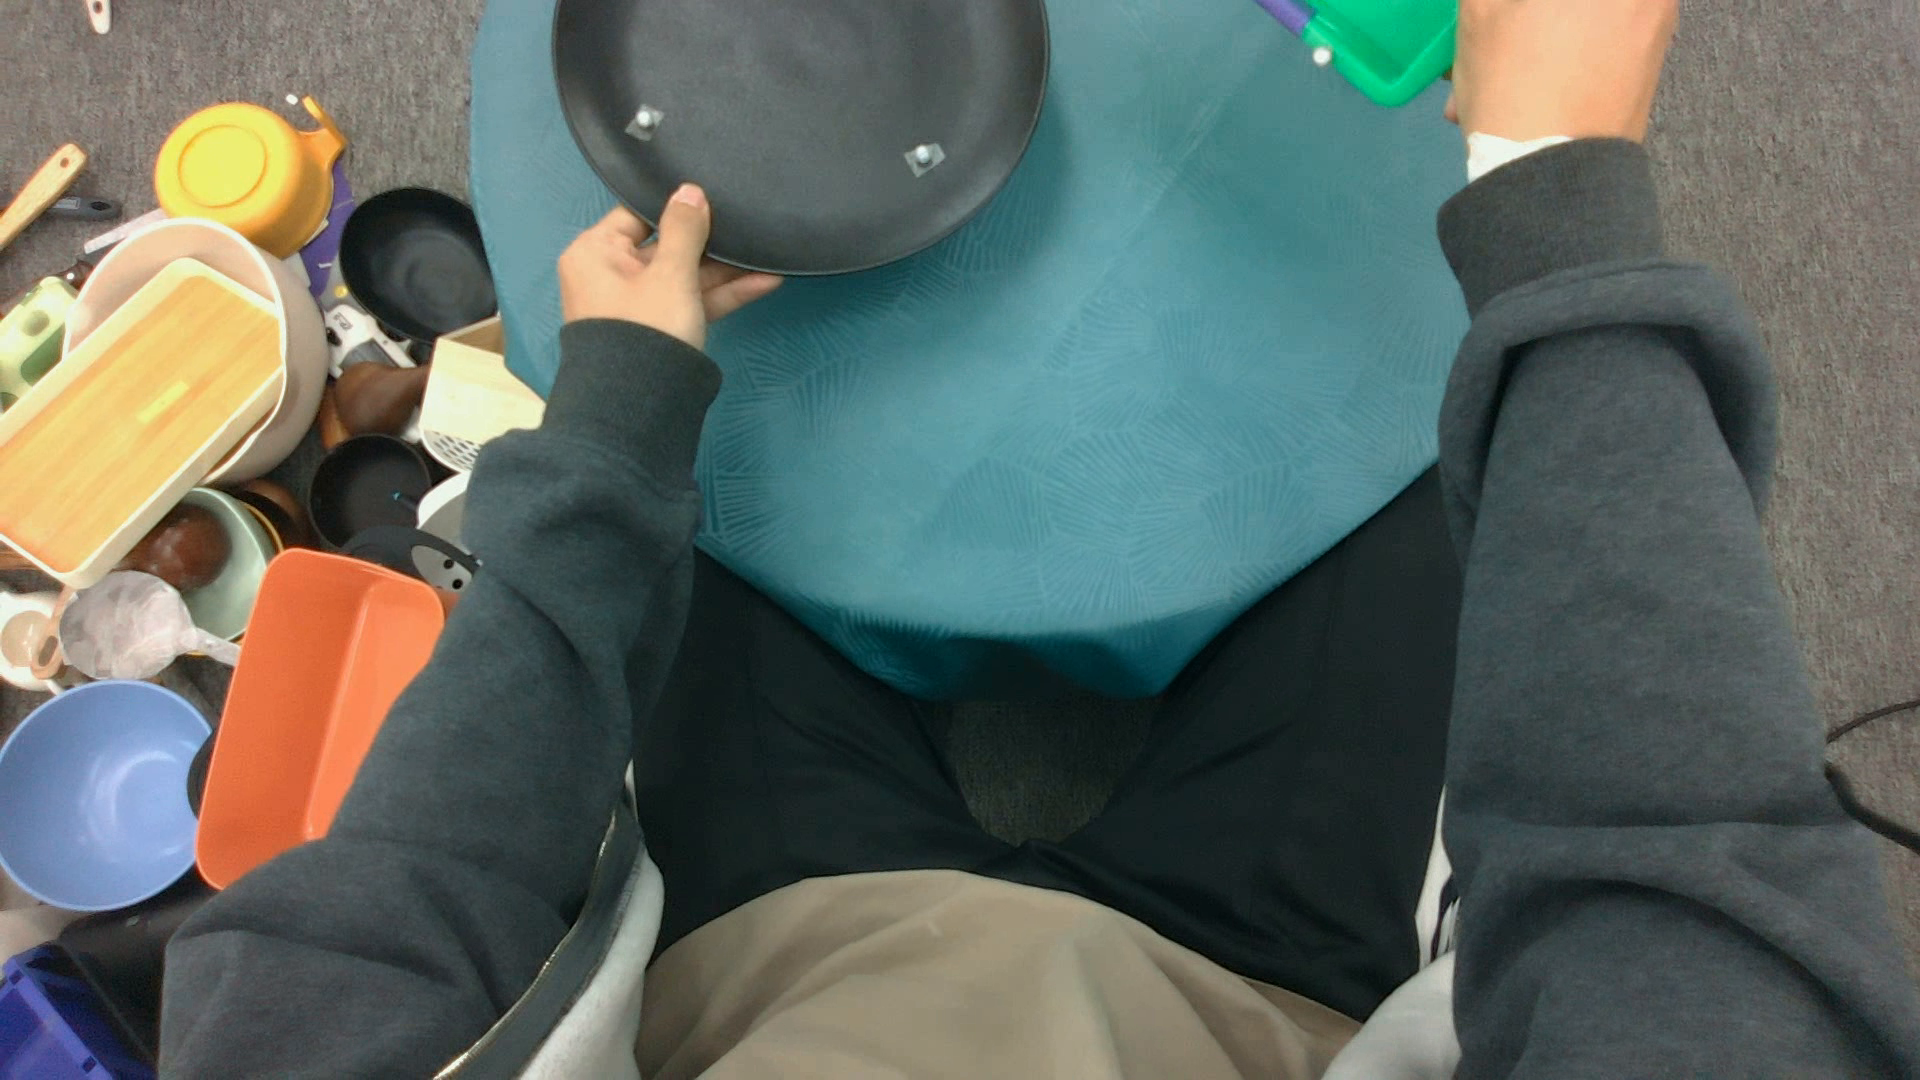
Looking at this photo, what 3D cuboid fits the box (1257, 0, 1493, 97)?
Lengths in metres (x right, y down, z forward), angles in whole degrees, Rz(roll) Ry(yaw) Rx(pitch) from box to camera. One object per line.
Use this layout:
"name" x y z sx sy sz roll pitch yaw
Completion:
"box" 0.152 -0.301 0.569 0.210 0.065 0.138 42 125 6

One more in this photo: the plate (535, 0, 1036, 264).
"plate" -0.084 -0.248 0.684 0.244 0.023 0.245 1 79 -4
